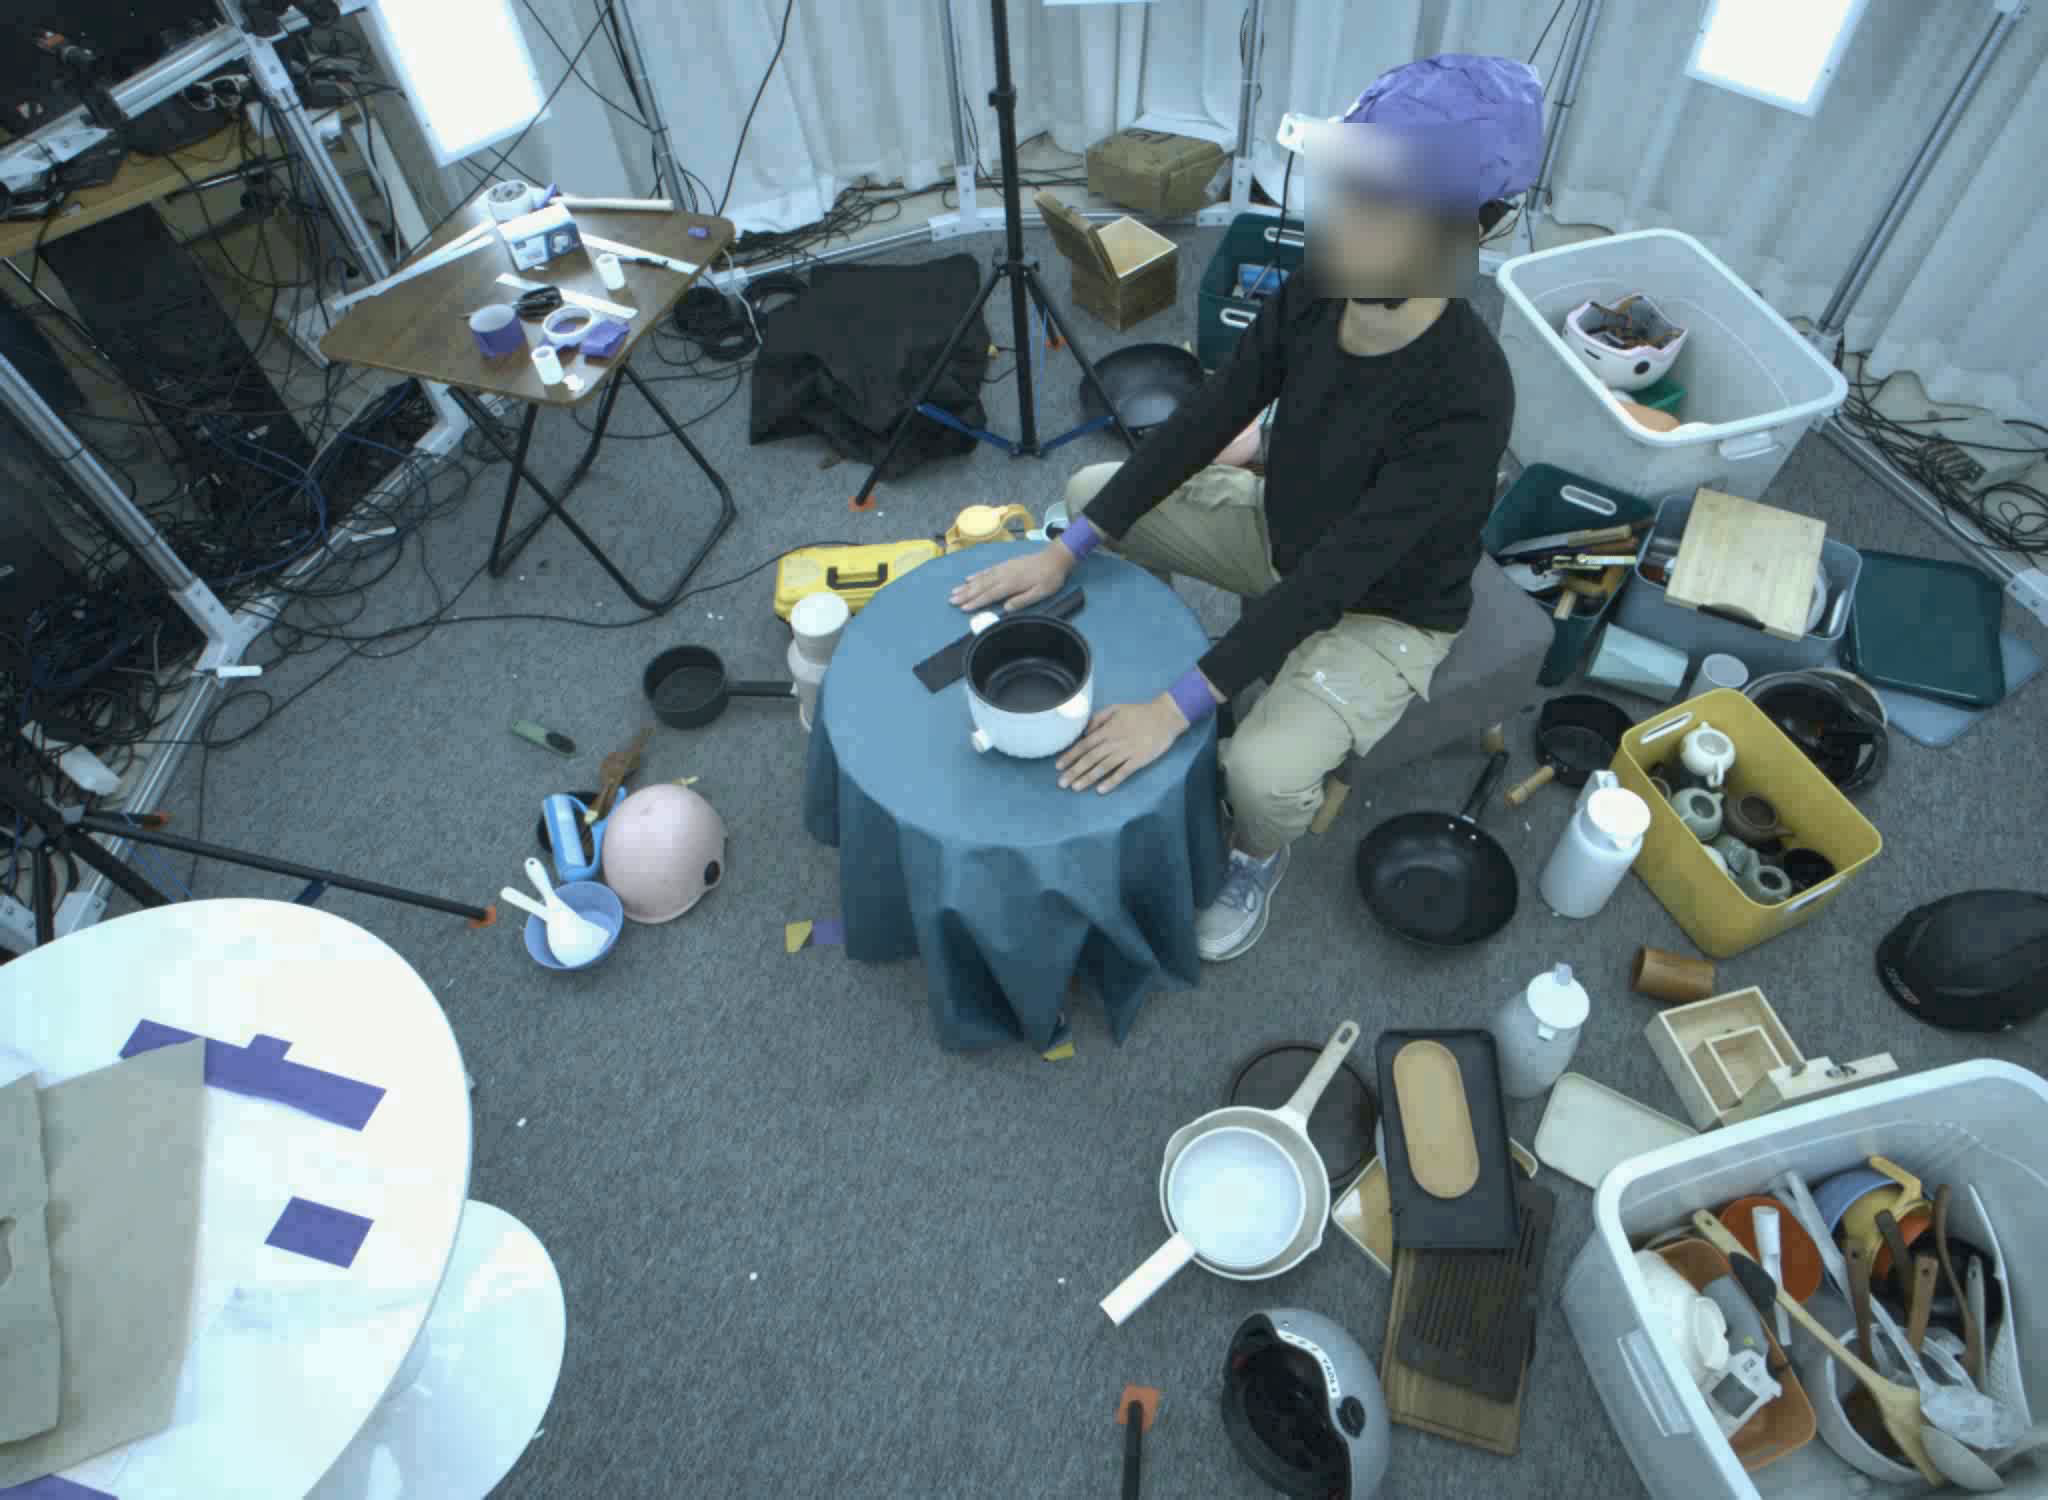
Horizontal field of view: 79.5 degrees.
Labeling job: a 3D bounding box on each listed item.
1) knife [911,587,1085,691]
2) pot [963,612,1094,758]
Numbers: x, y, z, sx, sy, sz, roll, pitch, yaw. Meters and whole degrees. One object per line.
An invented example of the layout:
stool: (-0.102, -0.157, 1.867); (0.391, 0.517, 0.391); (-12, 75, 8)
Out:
knife: (-0.035, -0.180, 1.904); (0.304, 0.021, 0.079); (-28, 57, -15)
pot: (0.005, -0.081, 1.756); (0.192, 0.144, 0.236); (-33, 58, -23)
